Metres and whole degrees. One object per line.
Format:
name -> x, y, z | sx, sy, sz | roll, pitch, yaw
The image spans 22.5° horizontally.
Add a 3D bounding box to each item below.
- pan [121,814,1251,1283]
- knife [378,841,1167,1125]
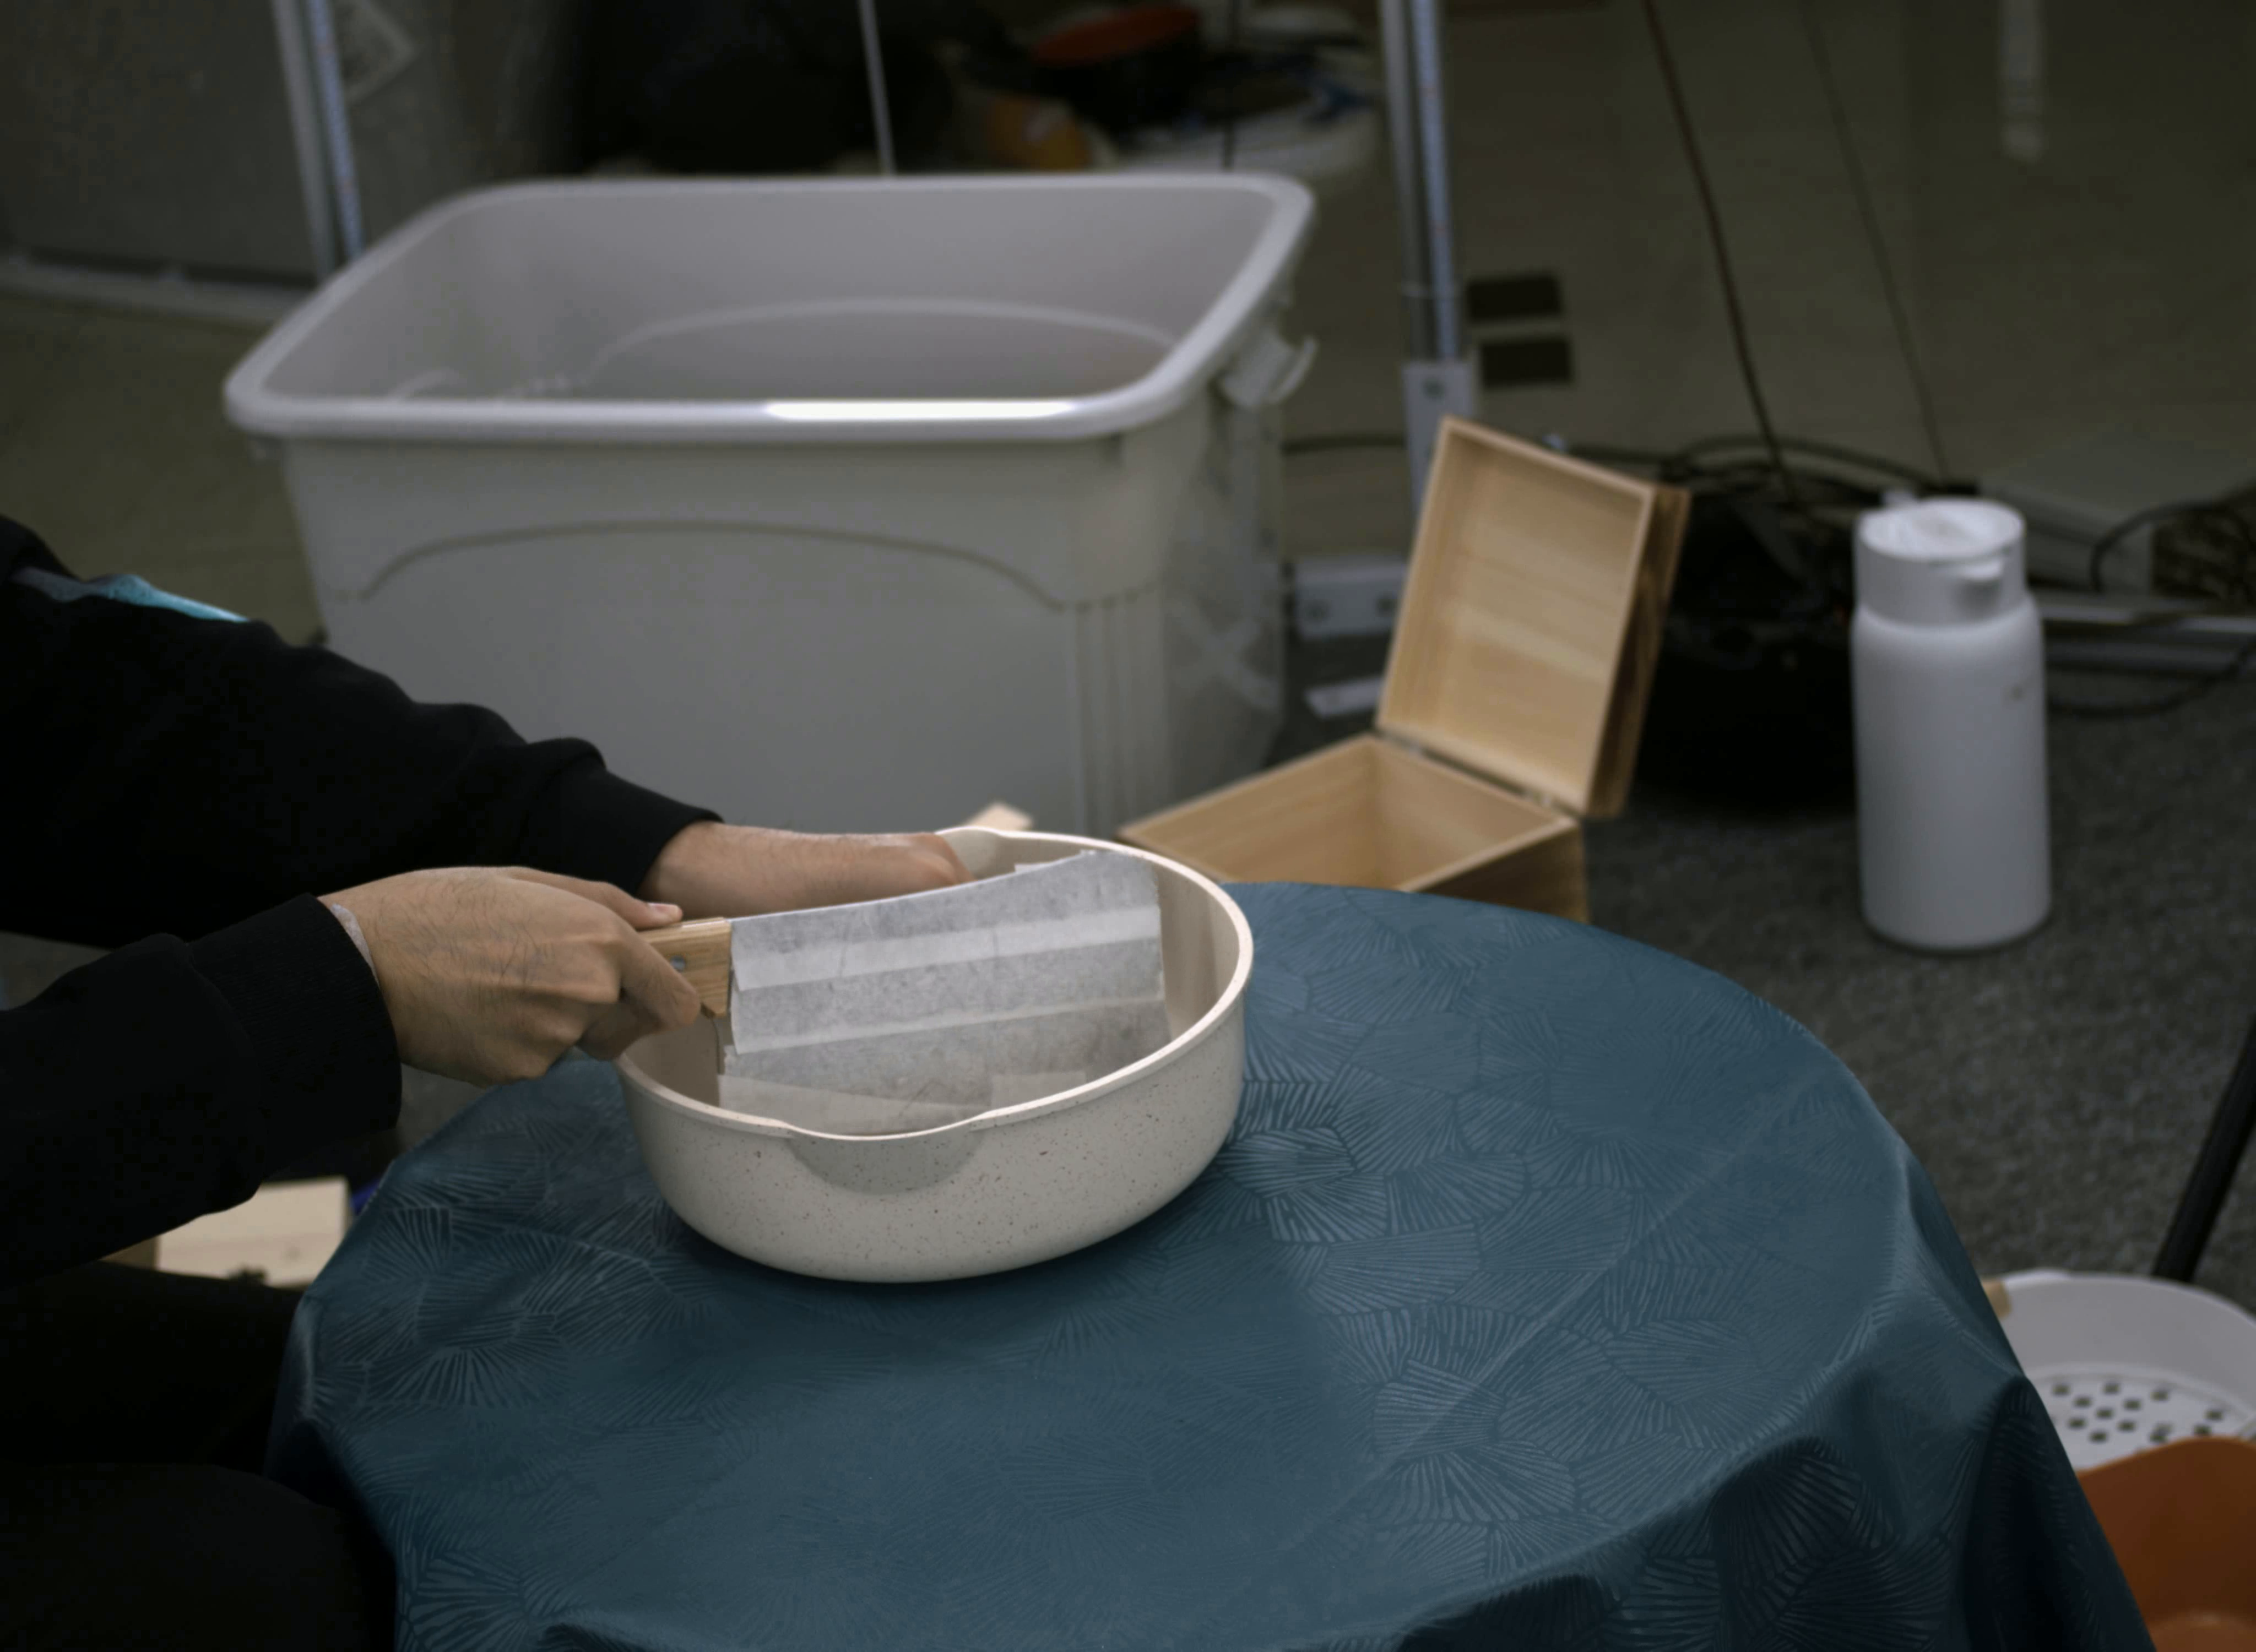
pan -> -0.166, 0.088, 2.177 | 0.434, 0.104, 0.259 | -3, 27, 7
knife -> -0.126, 0.065, 2.124 | 0.315, 0.115, 0.021 | -2, 13, -21
